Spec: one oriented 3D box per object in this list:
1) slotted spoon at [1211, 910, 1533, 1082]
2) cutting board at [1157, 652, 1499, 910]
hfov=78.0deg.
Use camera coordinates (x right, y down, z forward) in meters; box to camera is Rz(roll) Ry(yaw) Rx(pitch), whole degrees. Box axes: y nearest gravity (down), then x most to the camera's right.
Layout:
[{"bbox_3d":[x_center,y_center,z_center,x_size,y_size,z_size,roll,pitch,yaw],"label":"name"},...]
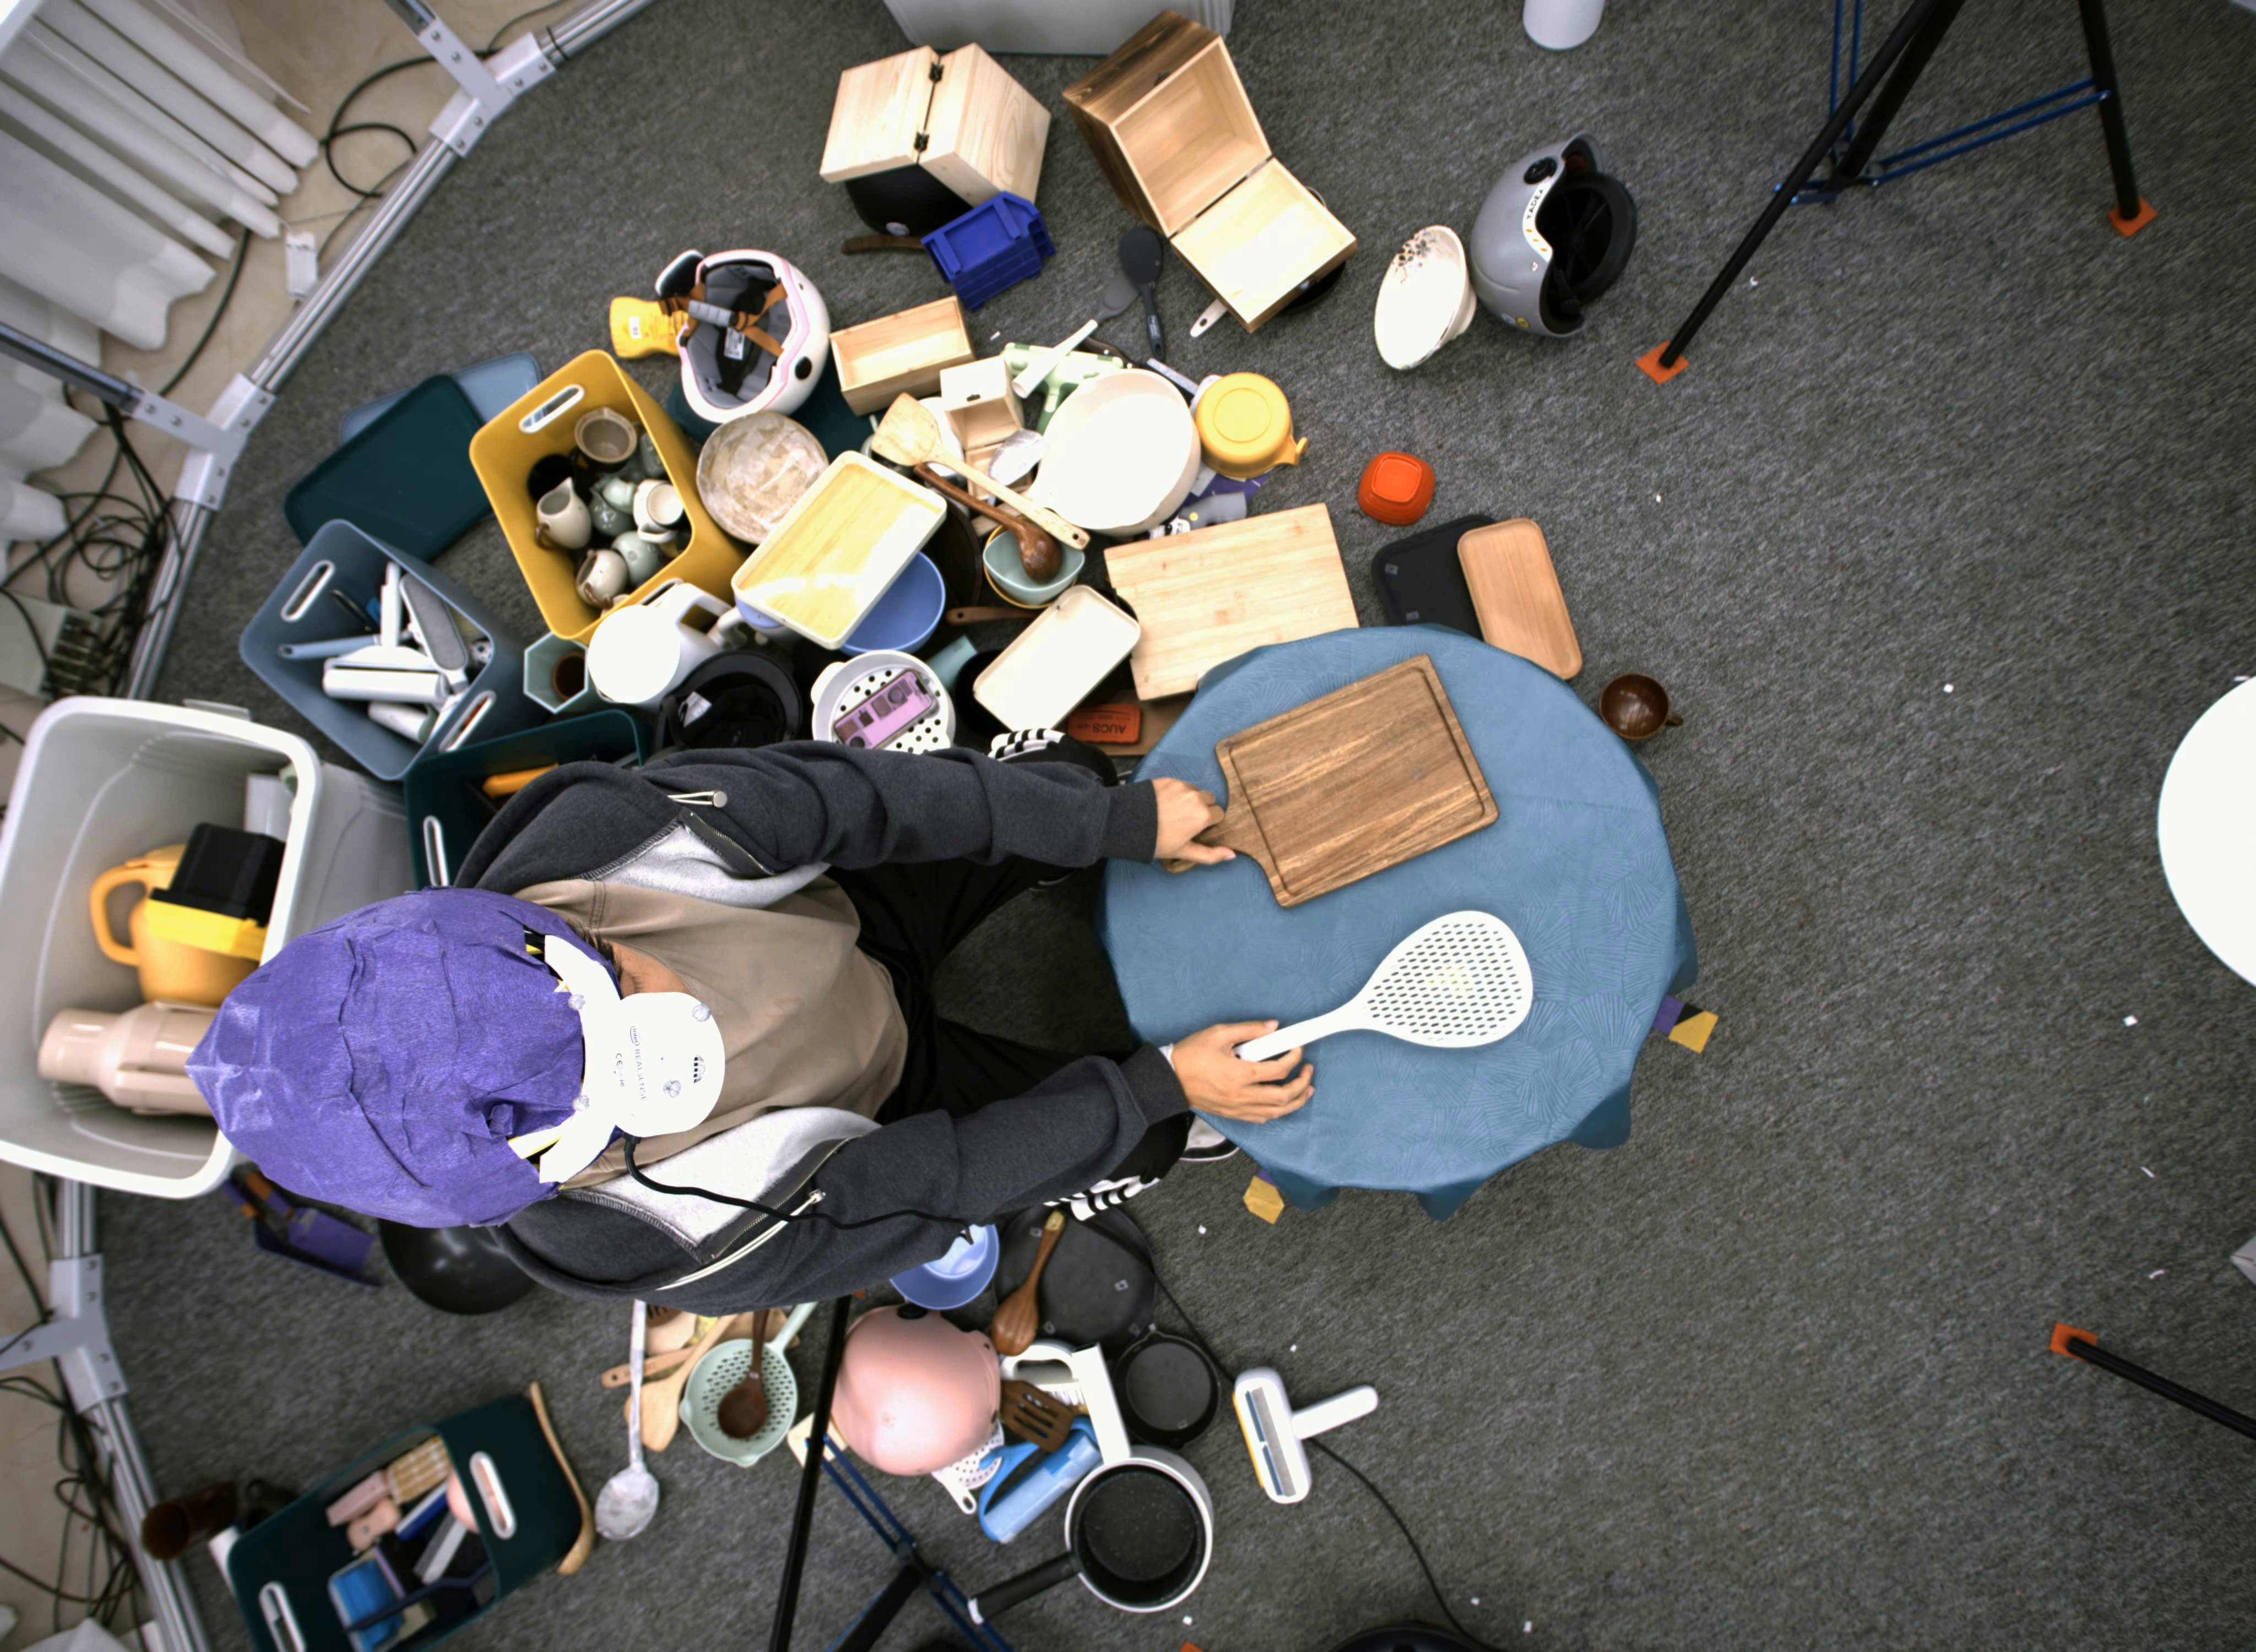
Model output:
[{"bbox_3d":[0.244,0.195,1.436,0.350,0.050,0.136,-21,84,8],"label":"slotted spoon"},{"bbox_3d":[0.194,-0.029,1.468,0.354,0.023,0.200,-24,82,8],"label":"cutting board"}]
